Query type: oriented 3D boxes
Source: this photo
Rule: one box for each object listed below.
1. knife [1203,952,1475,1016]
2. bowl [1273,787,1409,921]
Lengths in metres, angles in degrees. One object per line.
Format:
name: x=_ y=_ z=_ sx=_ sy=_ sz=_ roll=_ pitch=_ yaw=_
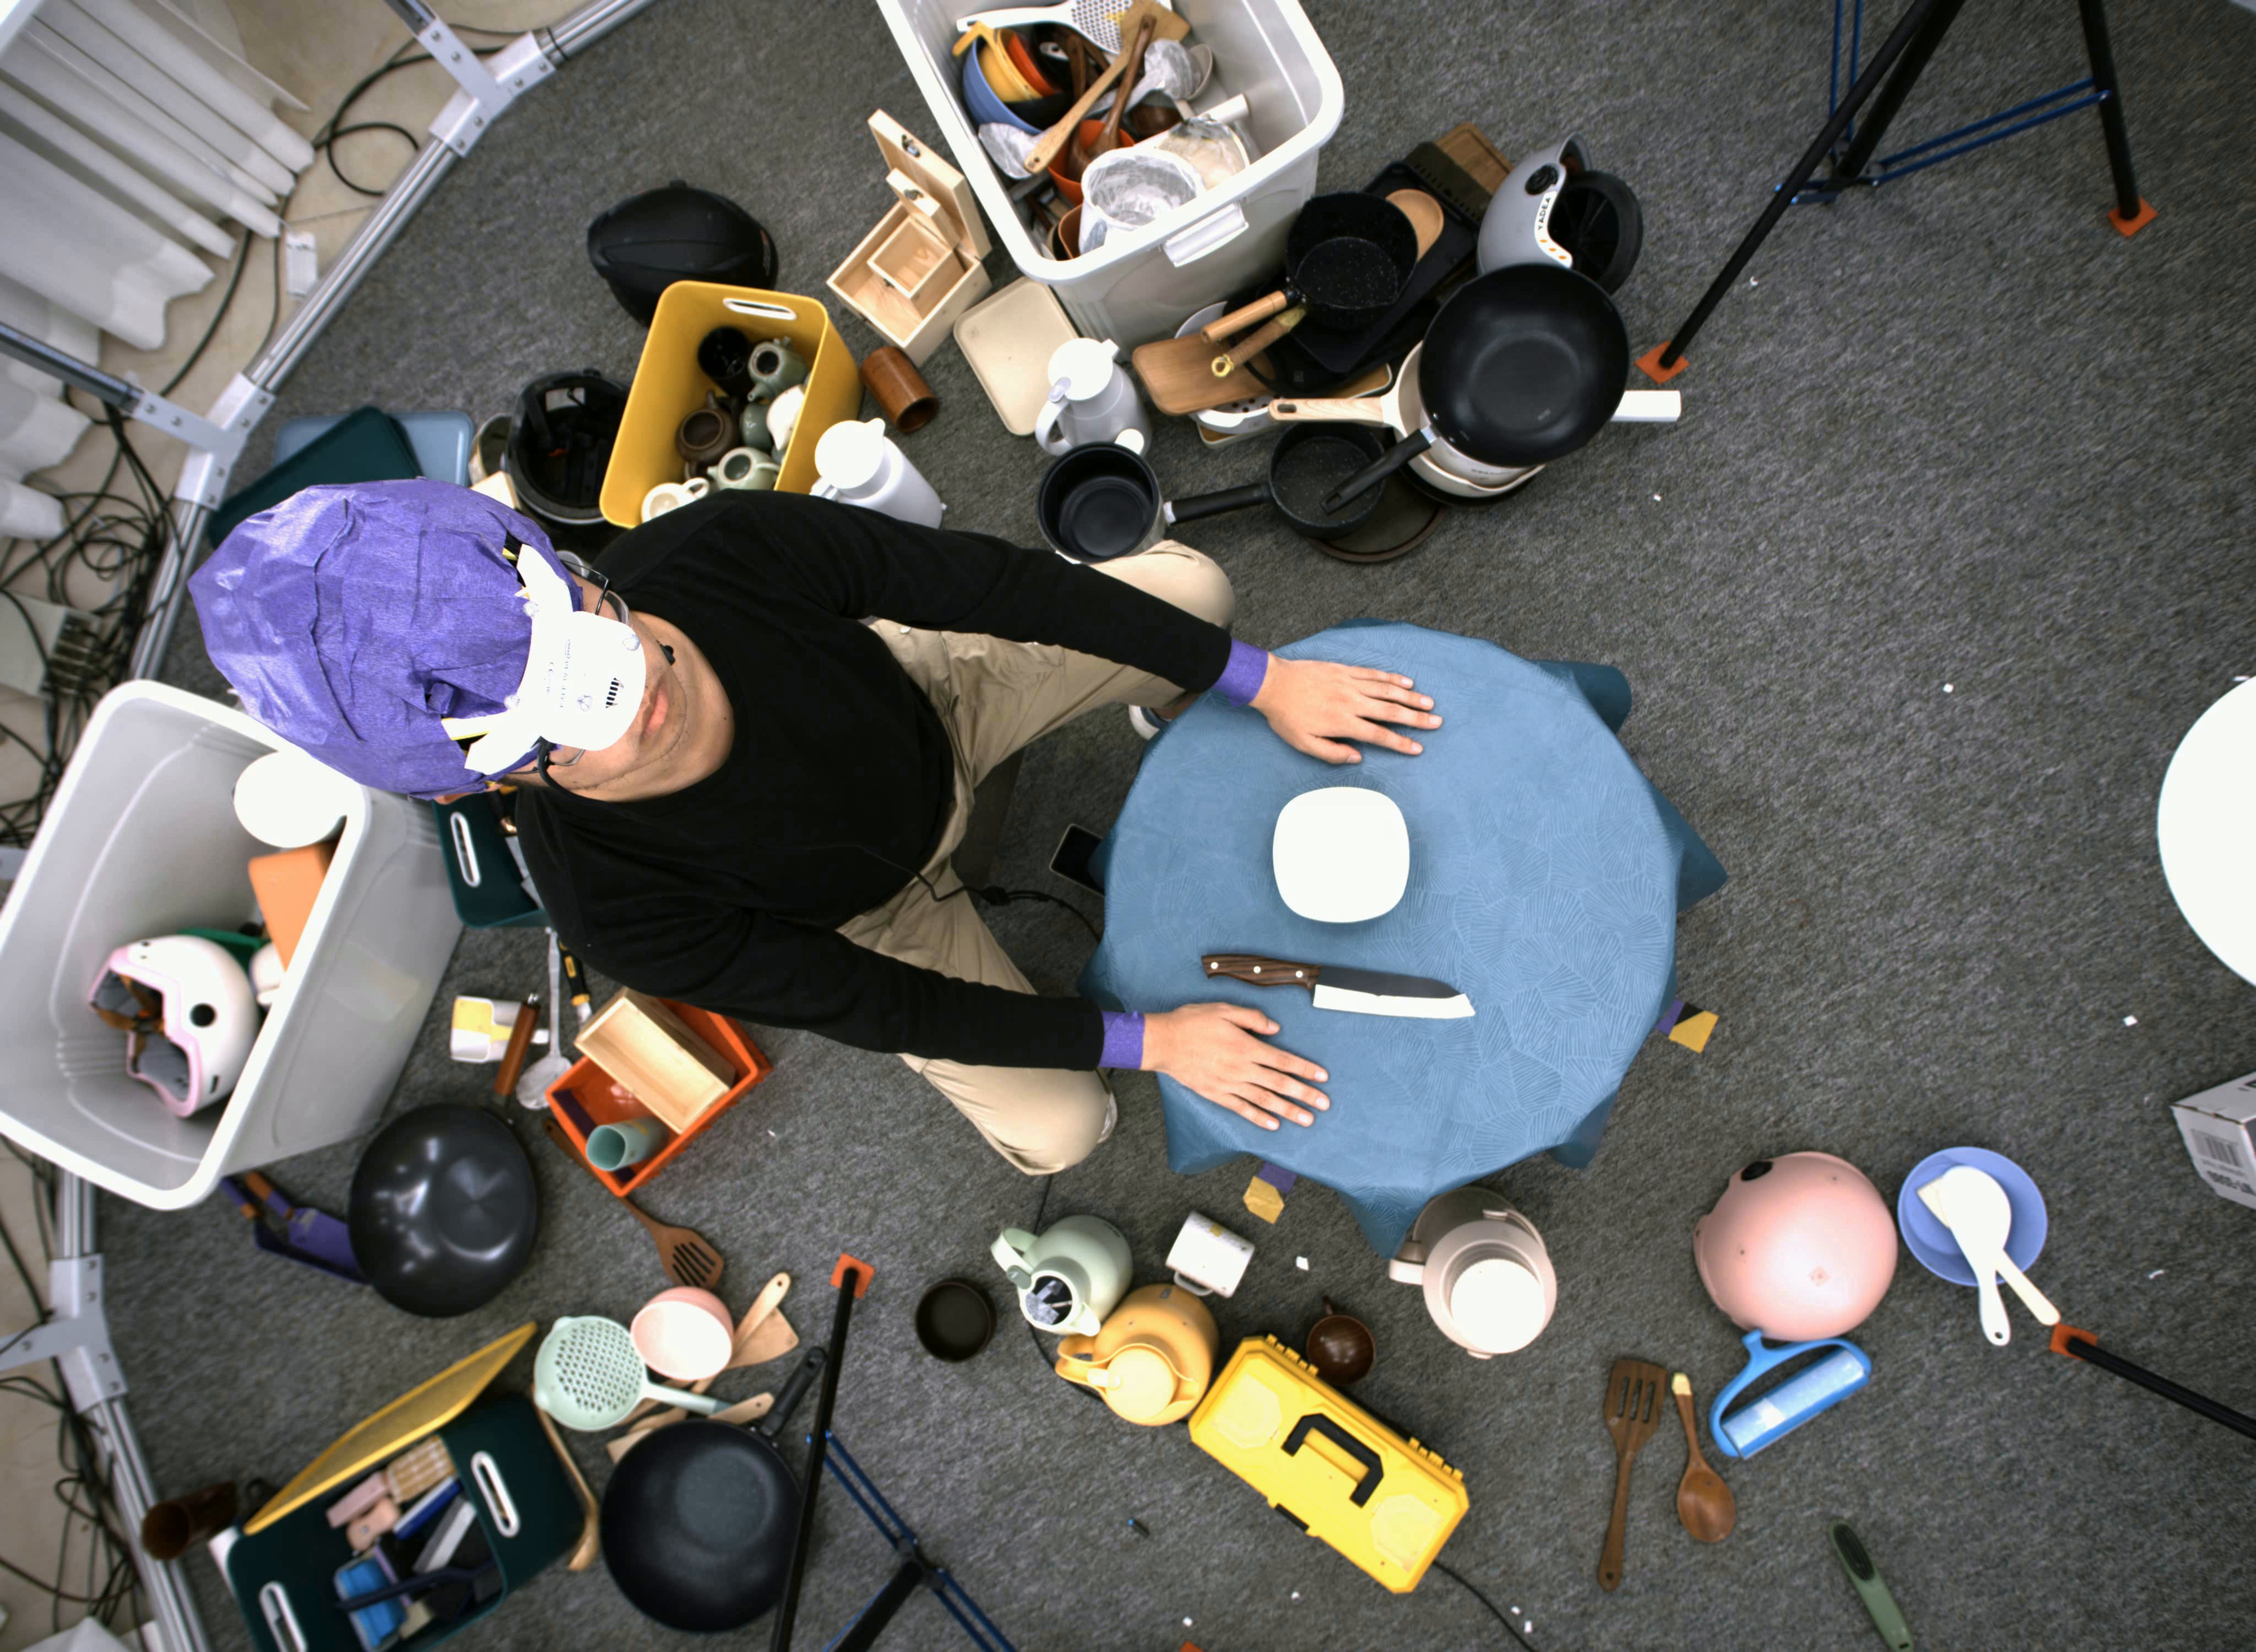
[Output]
knife: x=0.221 y=0.166 z=1.459 sx=0.290 sy=0.020 sz=0.050 roll=9 pitch=93 yaw=9
bowl: x=0.222 y=0.030 z=1.444 sx=0.152 sy=0.058 sz=0.151 roll=-1 pitch=87 yaw=9
